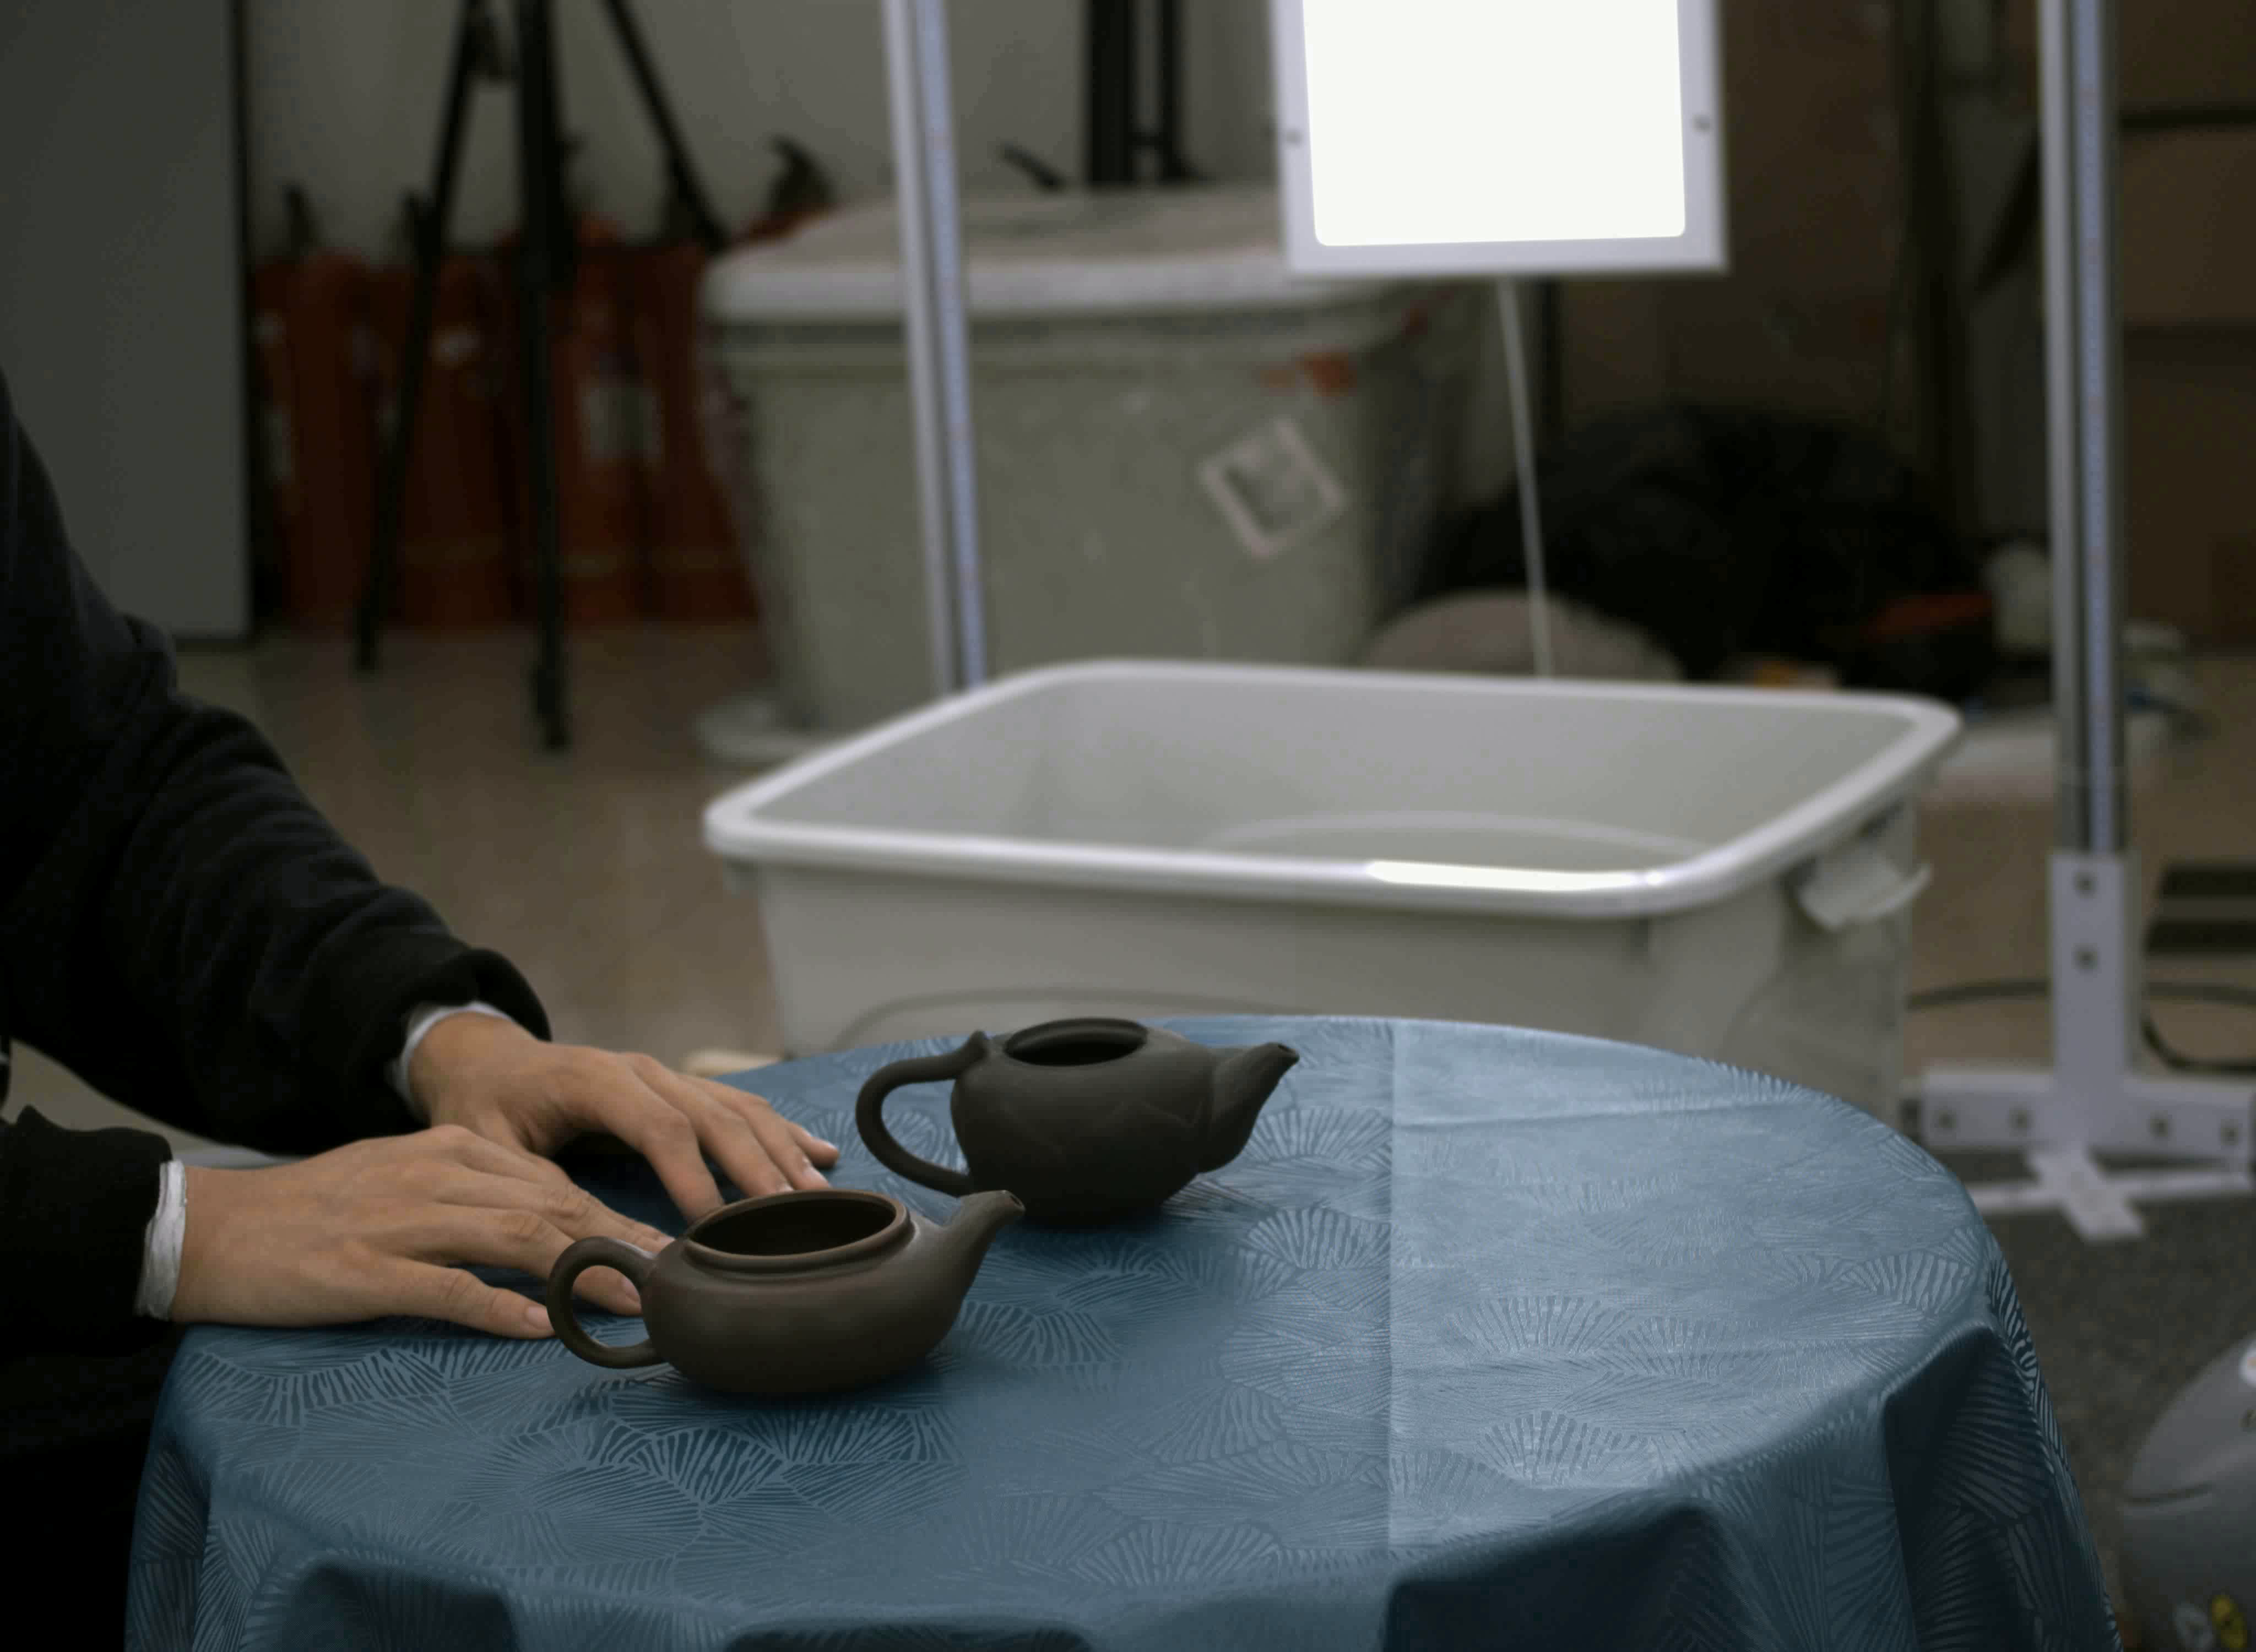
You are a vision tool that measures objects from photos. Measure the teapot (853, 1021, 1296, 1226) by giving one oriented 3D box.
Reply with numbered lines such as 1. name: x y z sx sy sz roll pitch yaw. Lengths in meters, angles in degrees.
1. teapot: -0.018 0.100 1.883 0.155 0.064 0.091 -3 12 8

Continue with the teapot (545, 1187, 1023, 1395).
1. teapot: -0.108 0.146 1.745 0.153 0.054 0.103 -5 11 -3
